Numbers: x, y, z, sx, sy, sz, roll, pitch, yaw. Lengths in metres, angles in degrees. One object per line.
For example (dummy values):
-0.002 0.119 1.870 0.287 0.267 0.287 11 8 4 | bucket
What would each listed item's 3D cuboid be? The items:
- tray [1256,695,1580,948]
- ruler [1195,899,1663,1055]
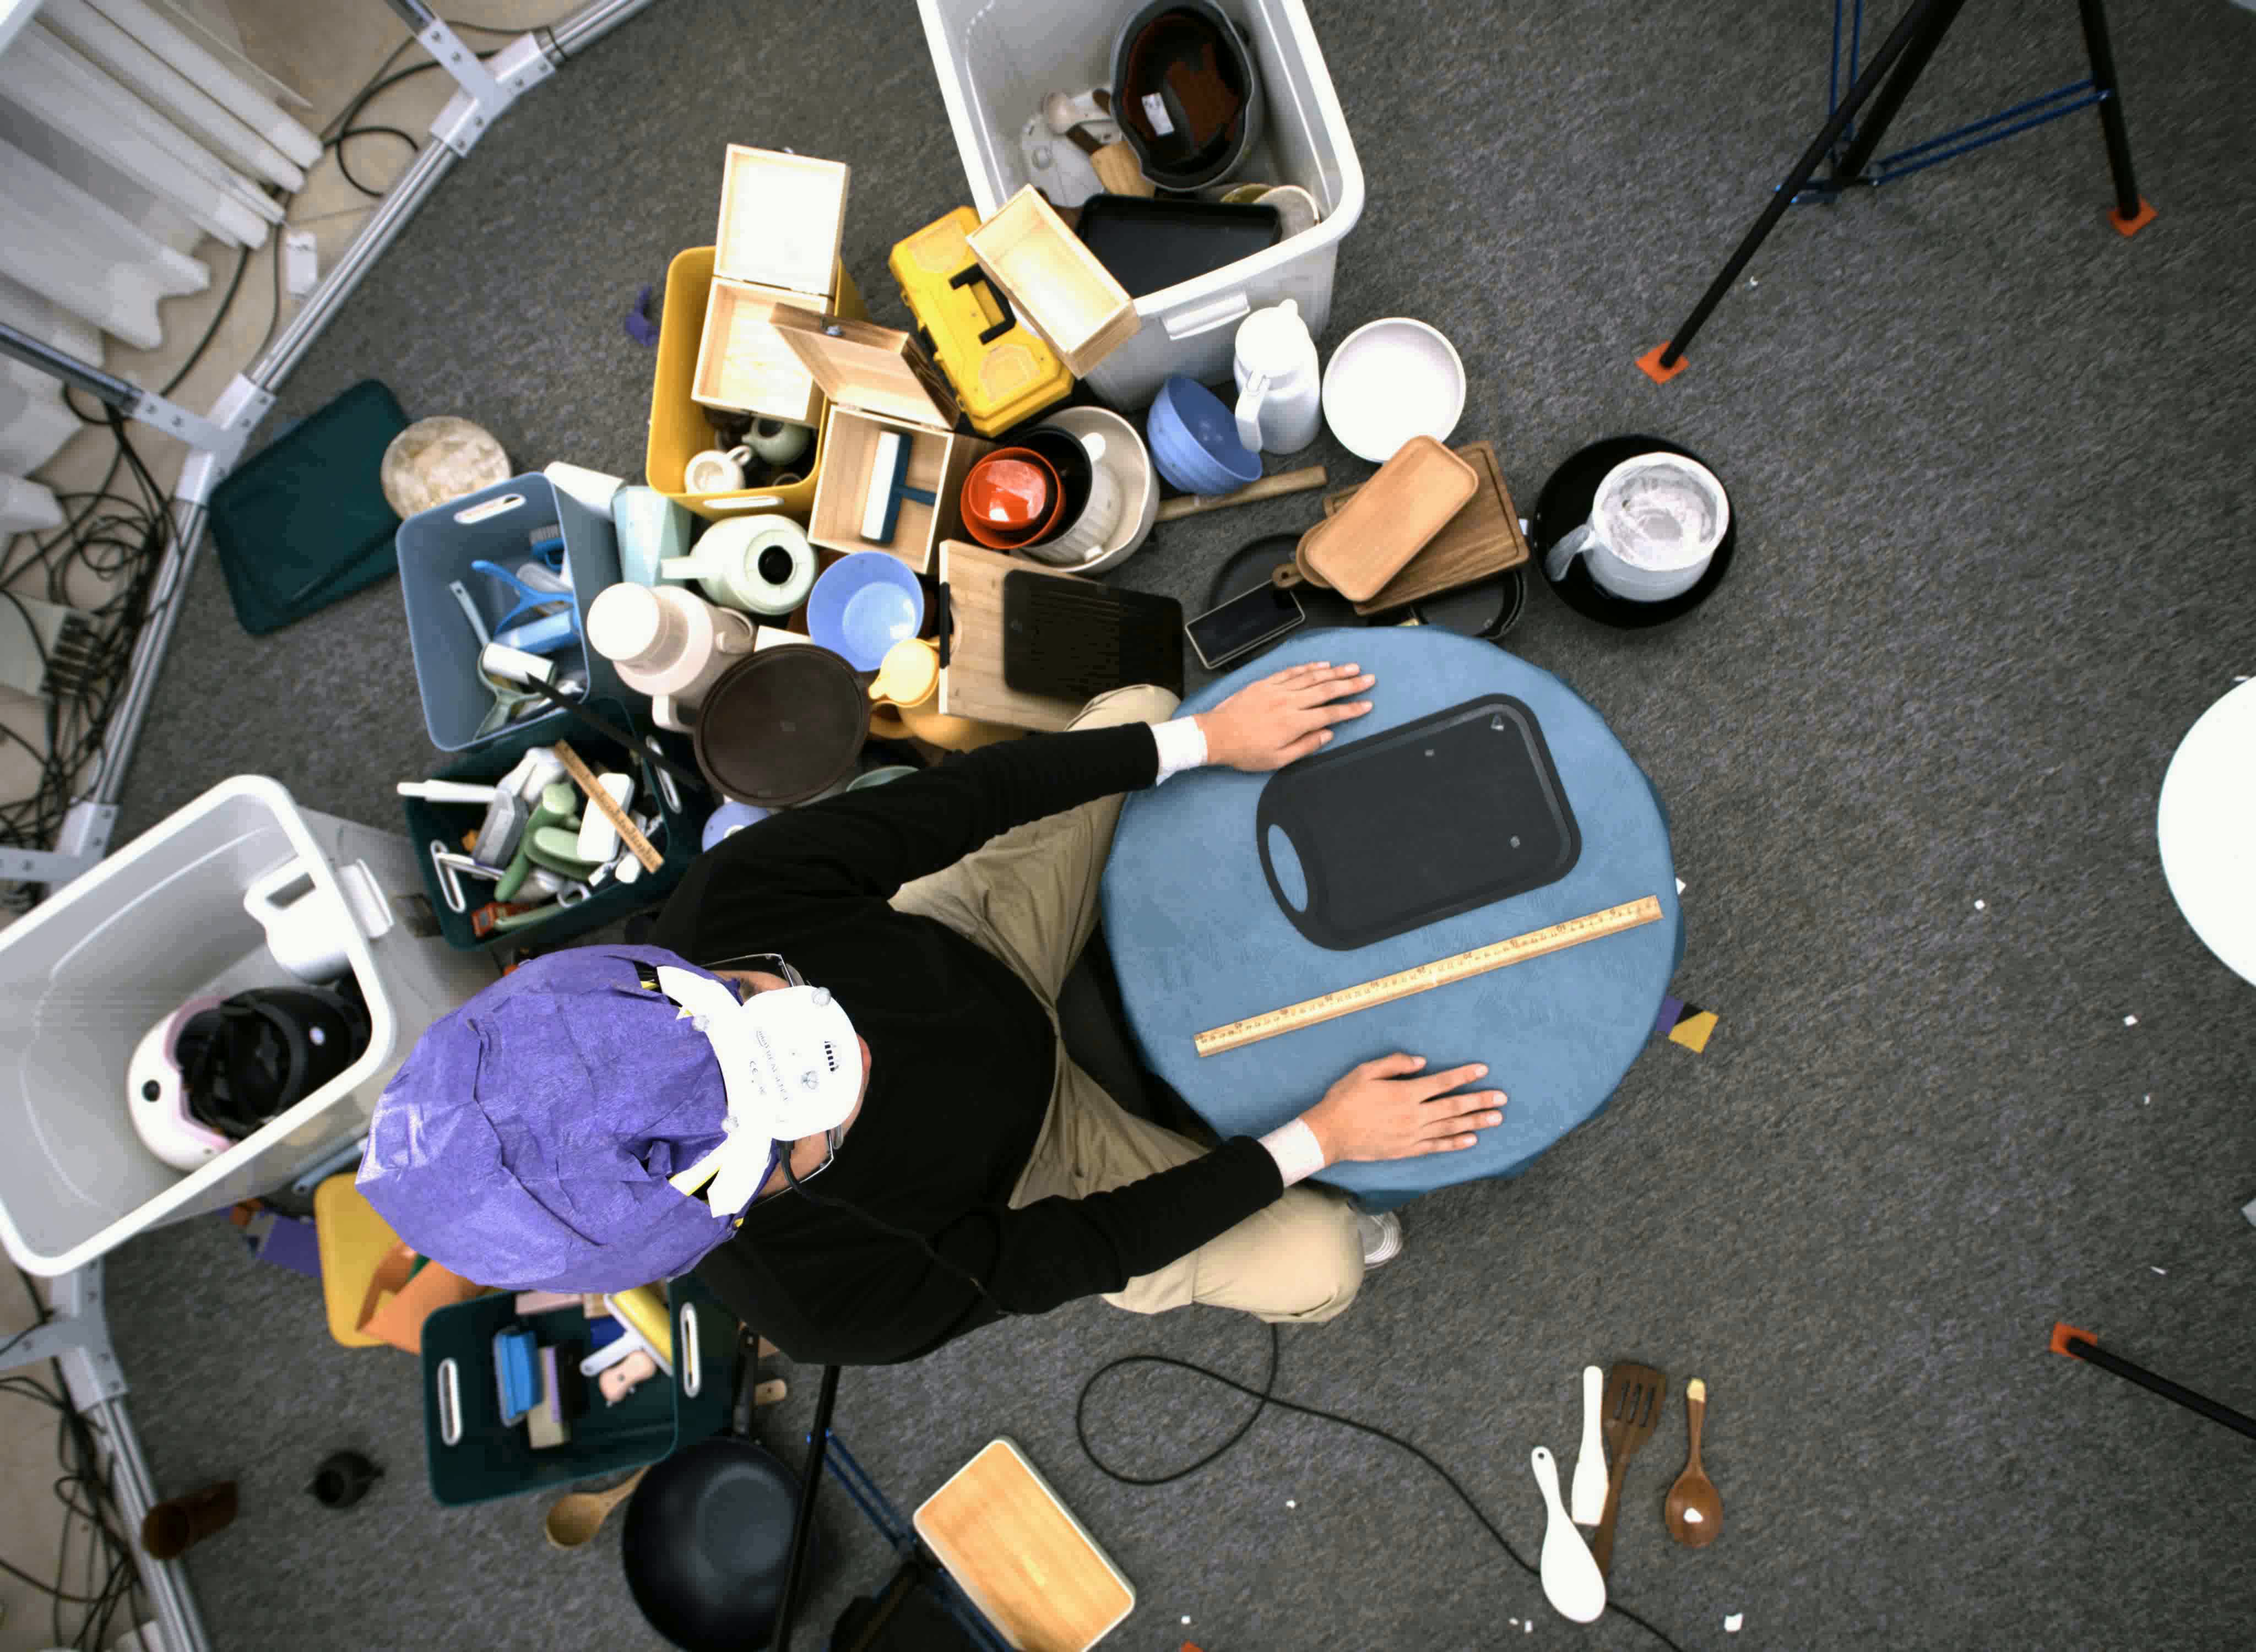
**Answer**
0.298 -0.002 1.455 0.327 0.010 0.210 -19 84 9 | tray
0.310 0.156 1.446 0.503 0.006 0.026 -18 82 9 | ruler
